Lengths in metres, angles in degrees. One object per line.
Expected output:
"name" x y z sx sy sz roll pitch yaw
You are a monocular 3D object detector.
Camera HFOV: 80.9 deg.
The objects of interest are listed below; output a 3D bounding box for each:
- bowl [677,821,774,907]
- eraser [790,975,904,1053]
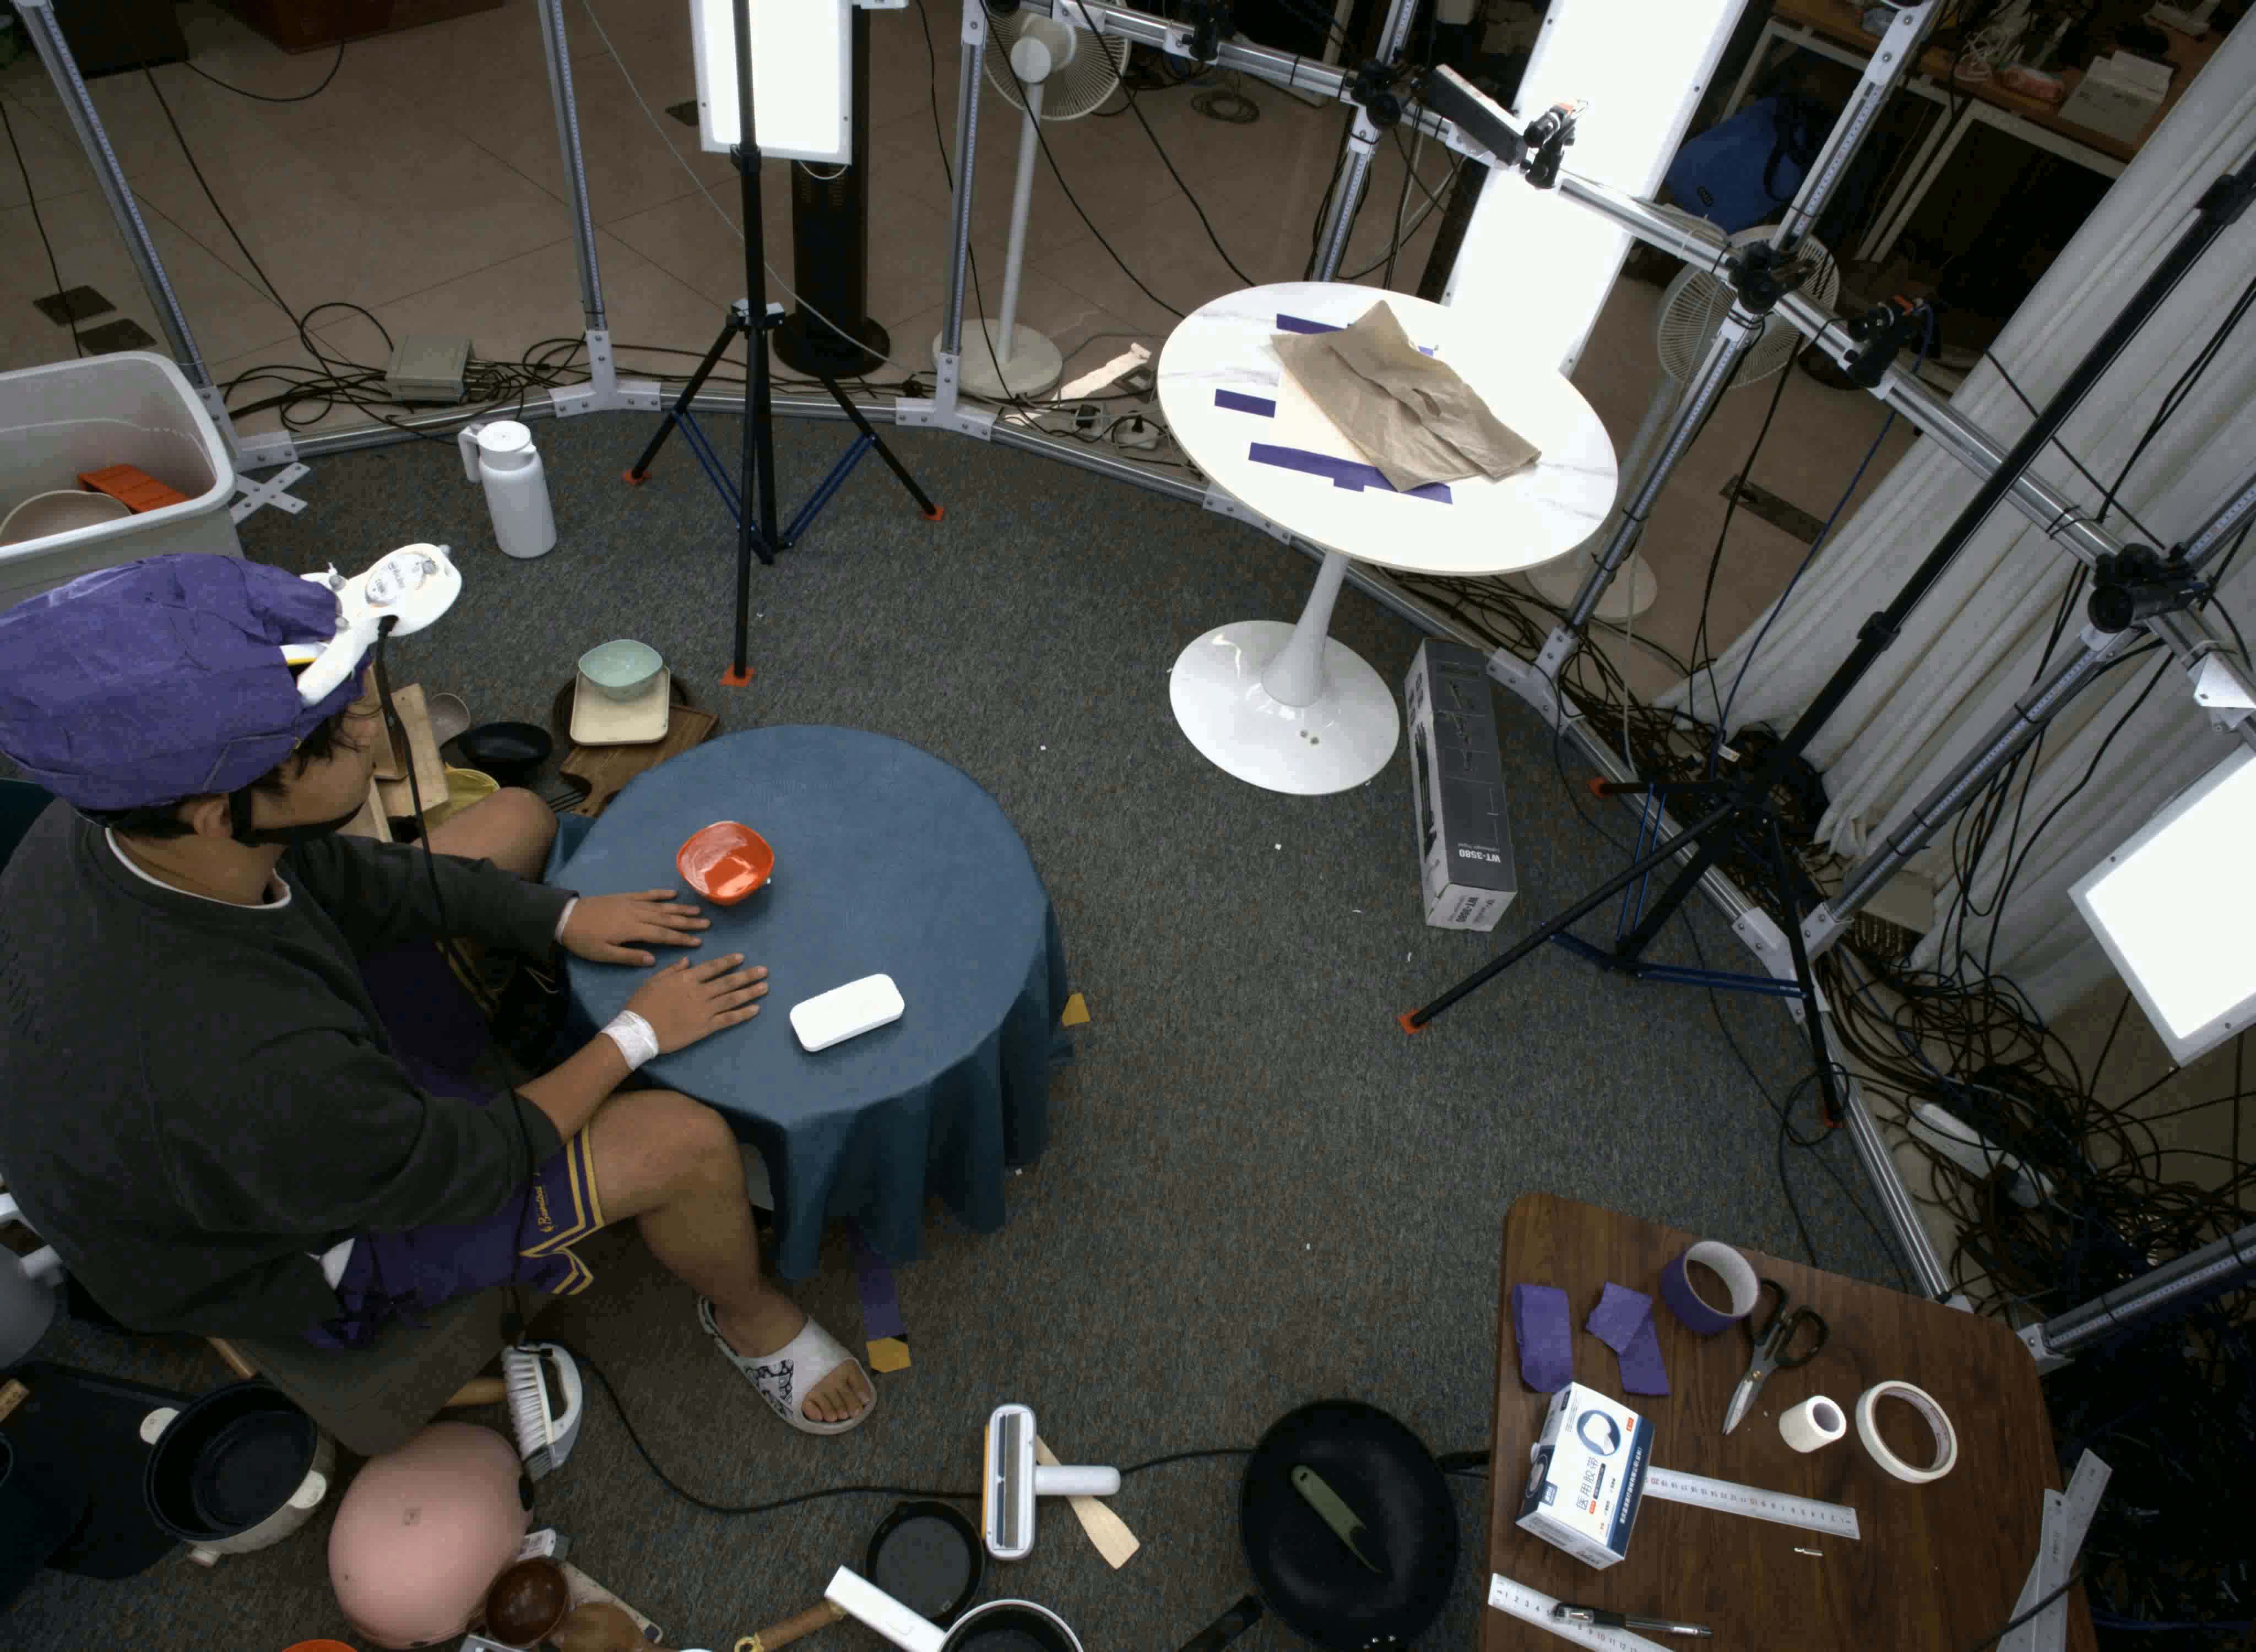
"bowl" -0.507 0.055 1.634 0.119 0.052 0.117 8 53 -9
"eraser" -0.338 0.222 1.564 0.132 0.035 0.062 -18 58 -27
